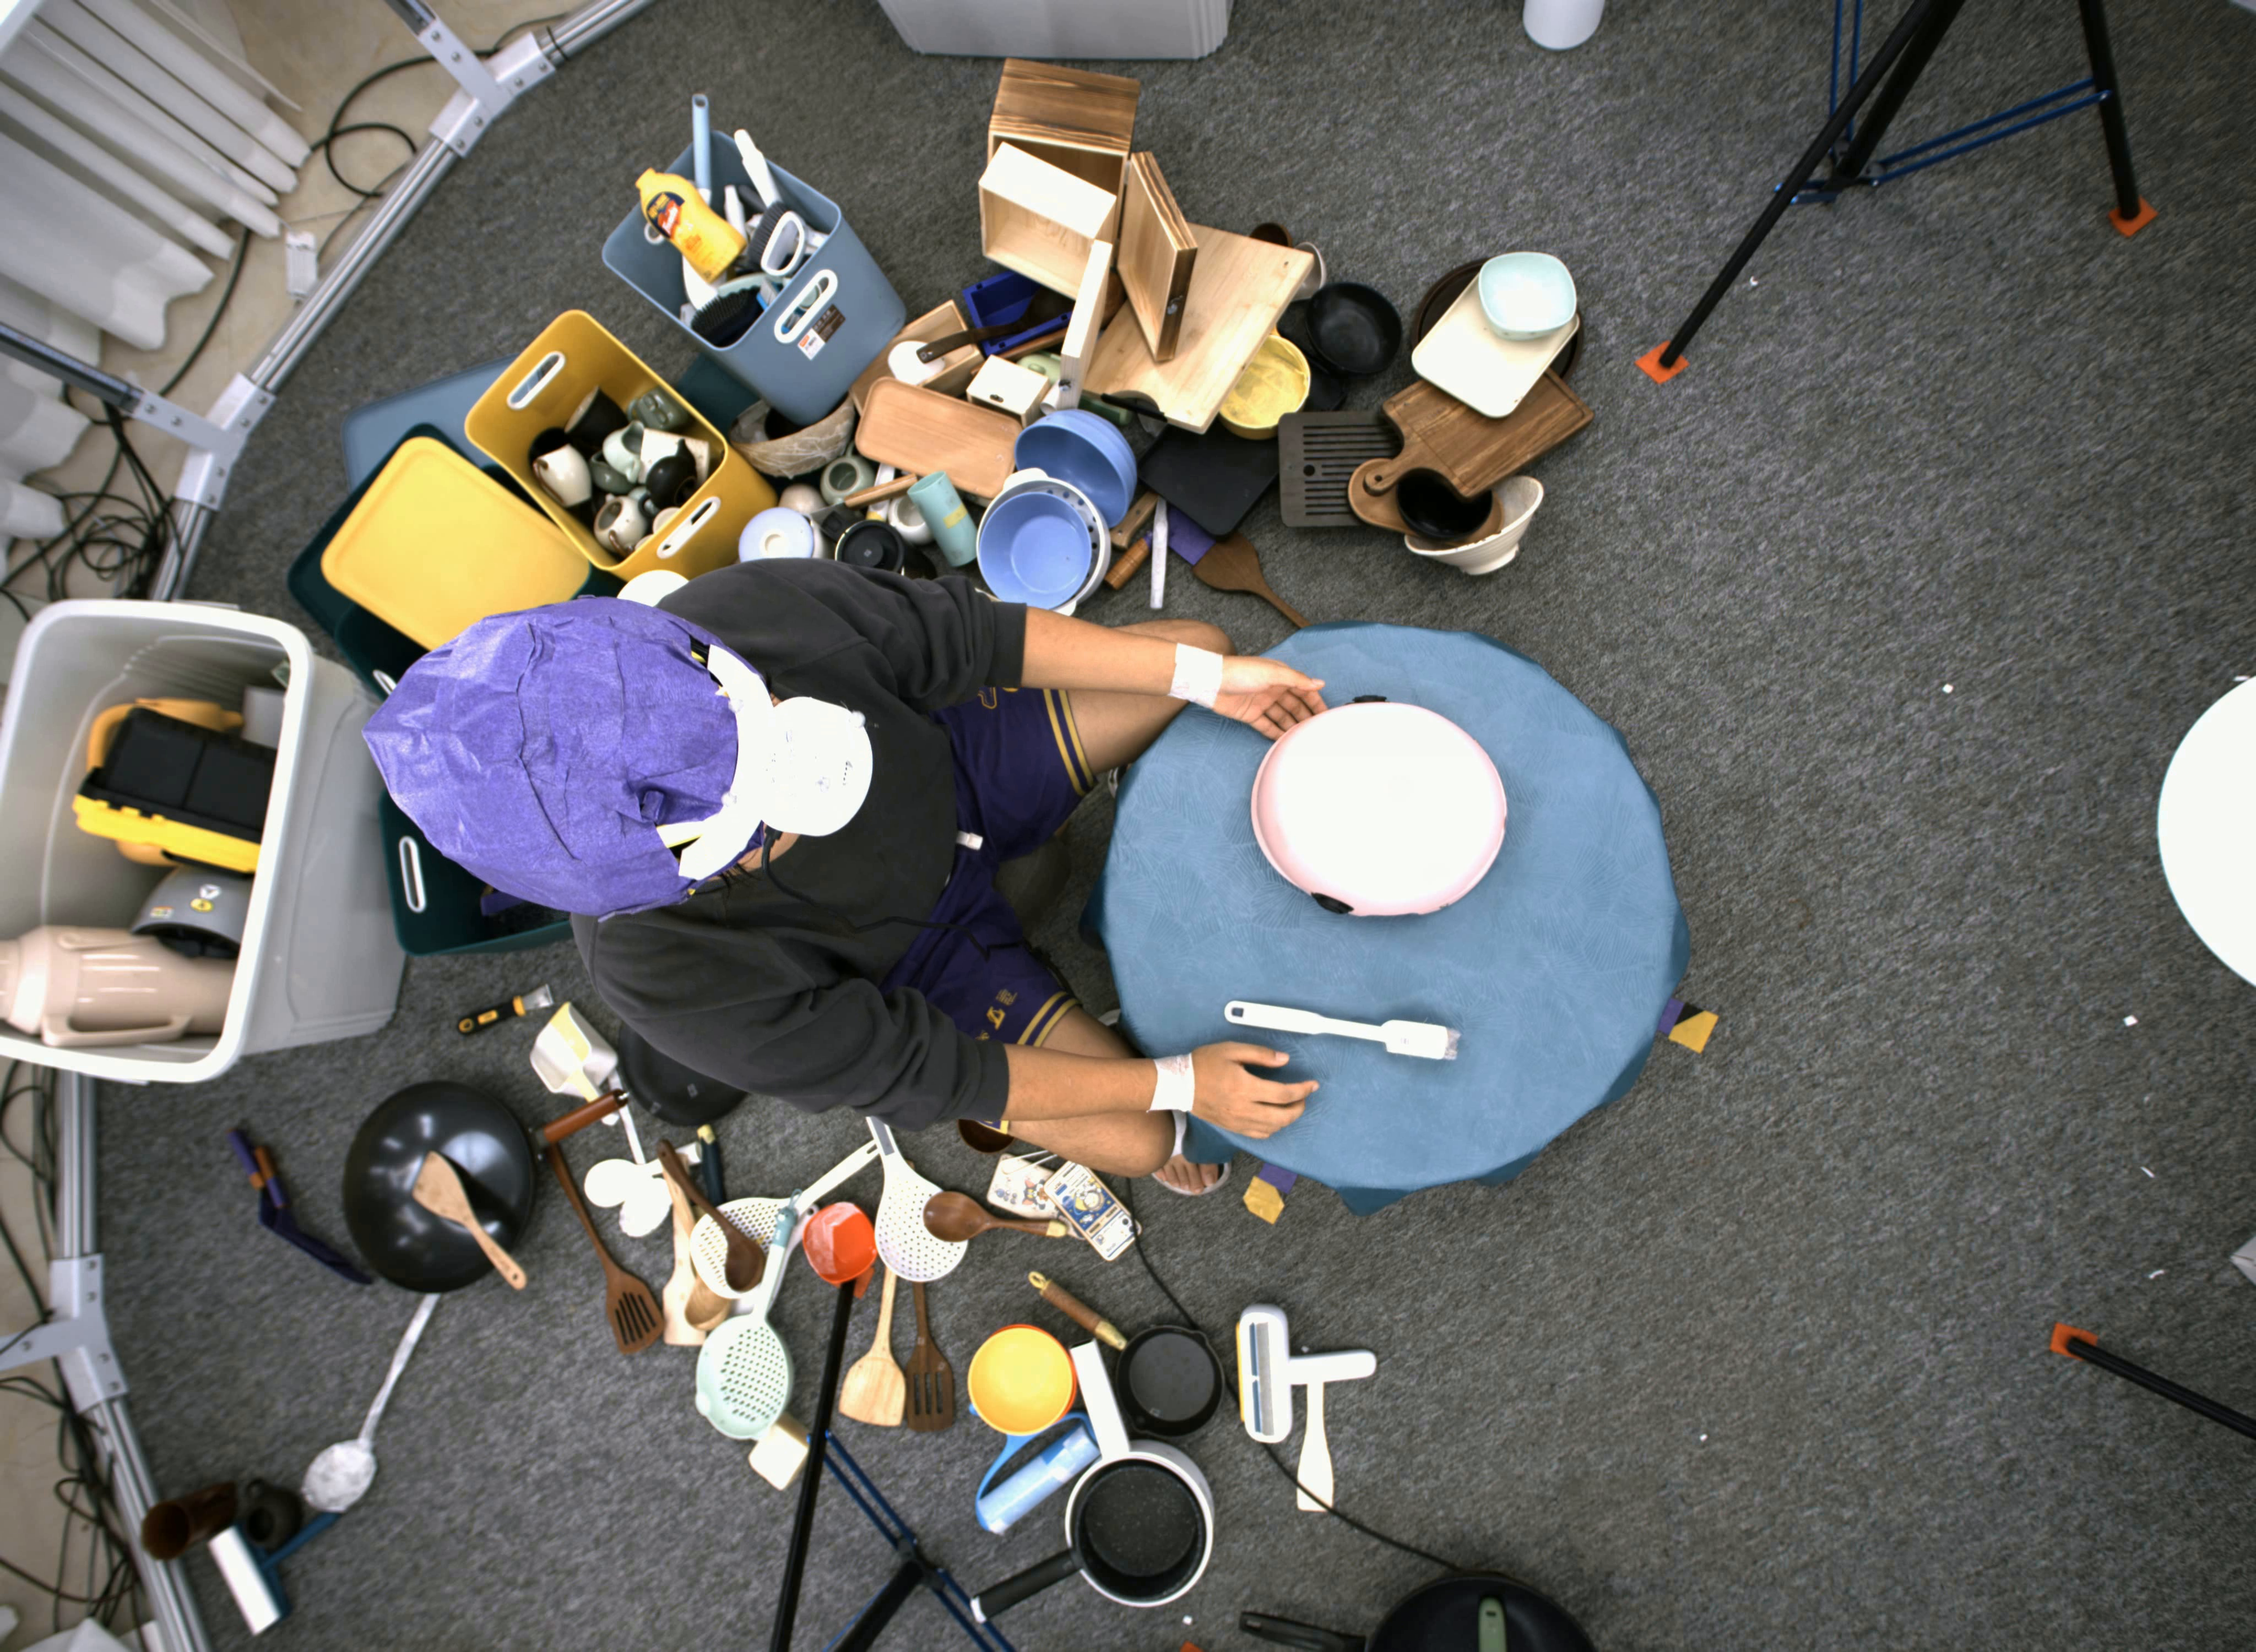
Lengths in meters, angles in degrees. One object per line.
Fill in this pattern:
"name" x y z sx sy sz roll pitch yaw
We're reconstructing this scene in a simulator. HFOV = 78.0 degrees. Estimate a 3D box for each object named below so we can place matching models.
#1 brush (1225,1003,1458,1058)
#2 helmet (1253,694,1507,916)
"brush" 0.222 0.211 1.449 0.245 0.050 0.034 4 81 24
"helmet" 0.247 -0.026 1.393 0.266 0.159 0.233 9 89 15
